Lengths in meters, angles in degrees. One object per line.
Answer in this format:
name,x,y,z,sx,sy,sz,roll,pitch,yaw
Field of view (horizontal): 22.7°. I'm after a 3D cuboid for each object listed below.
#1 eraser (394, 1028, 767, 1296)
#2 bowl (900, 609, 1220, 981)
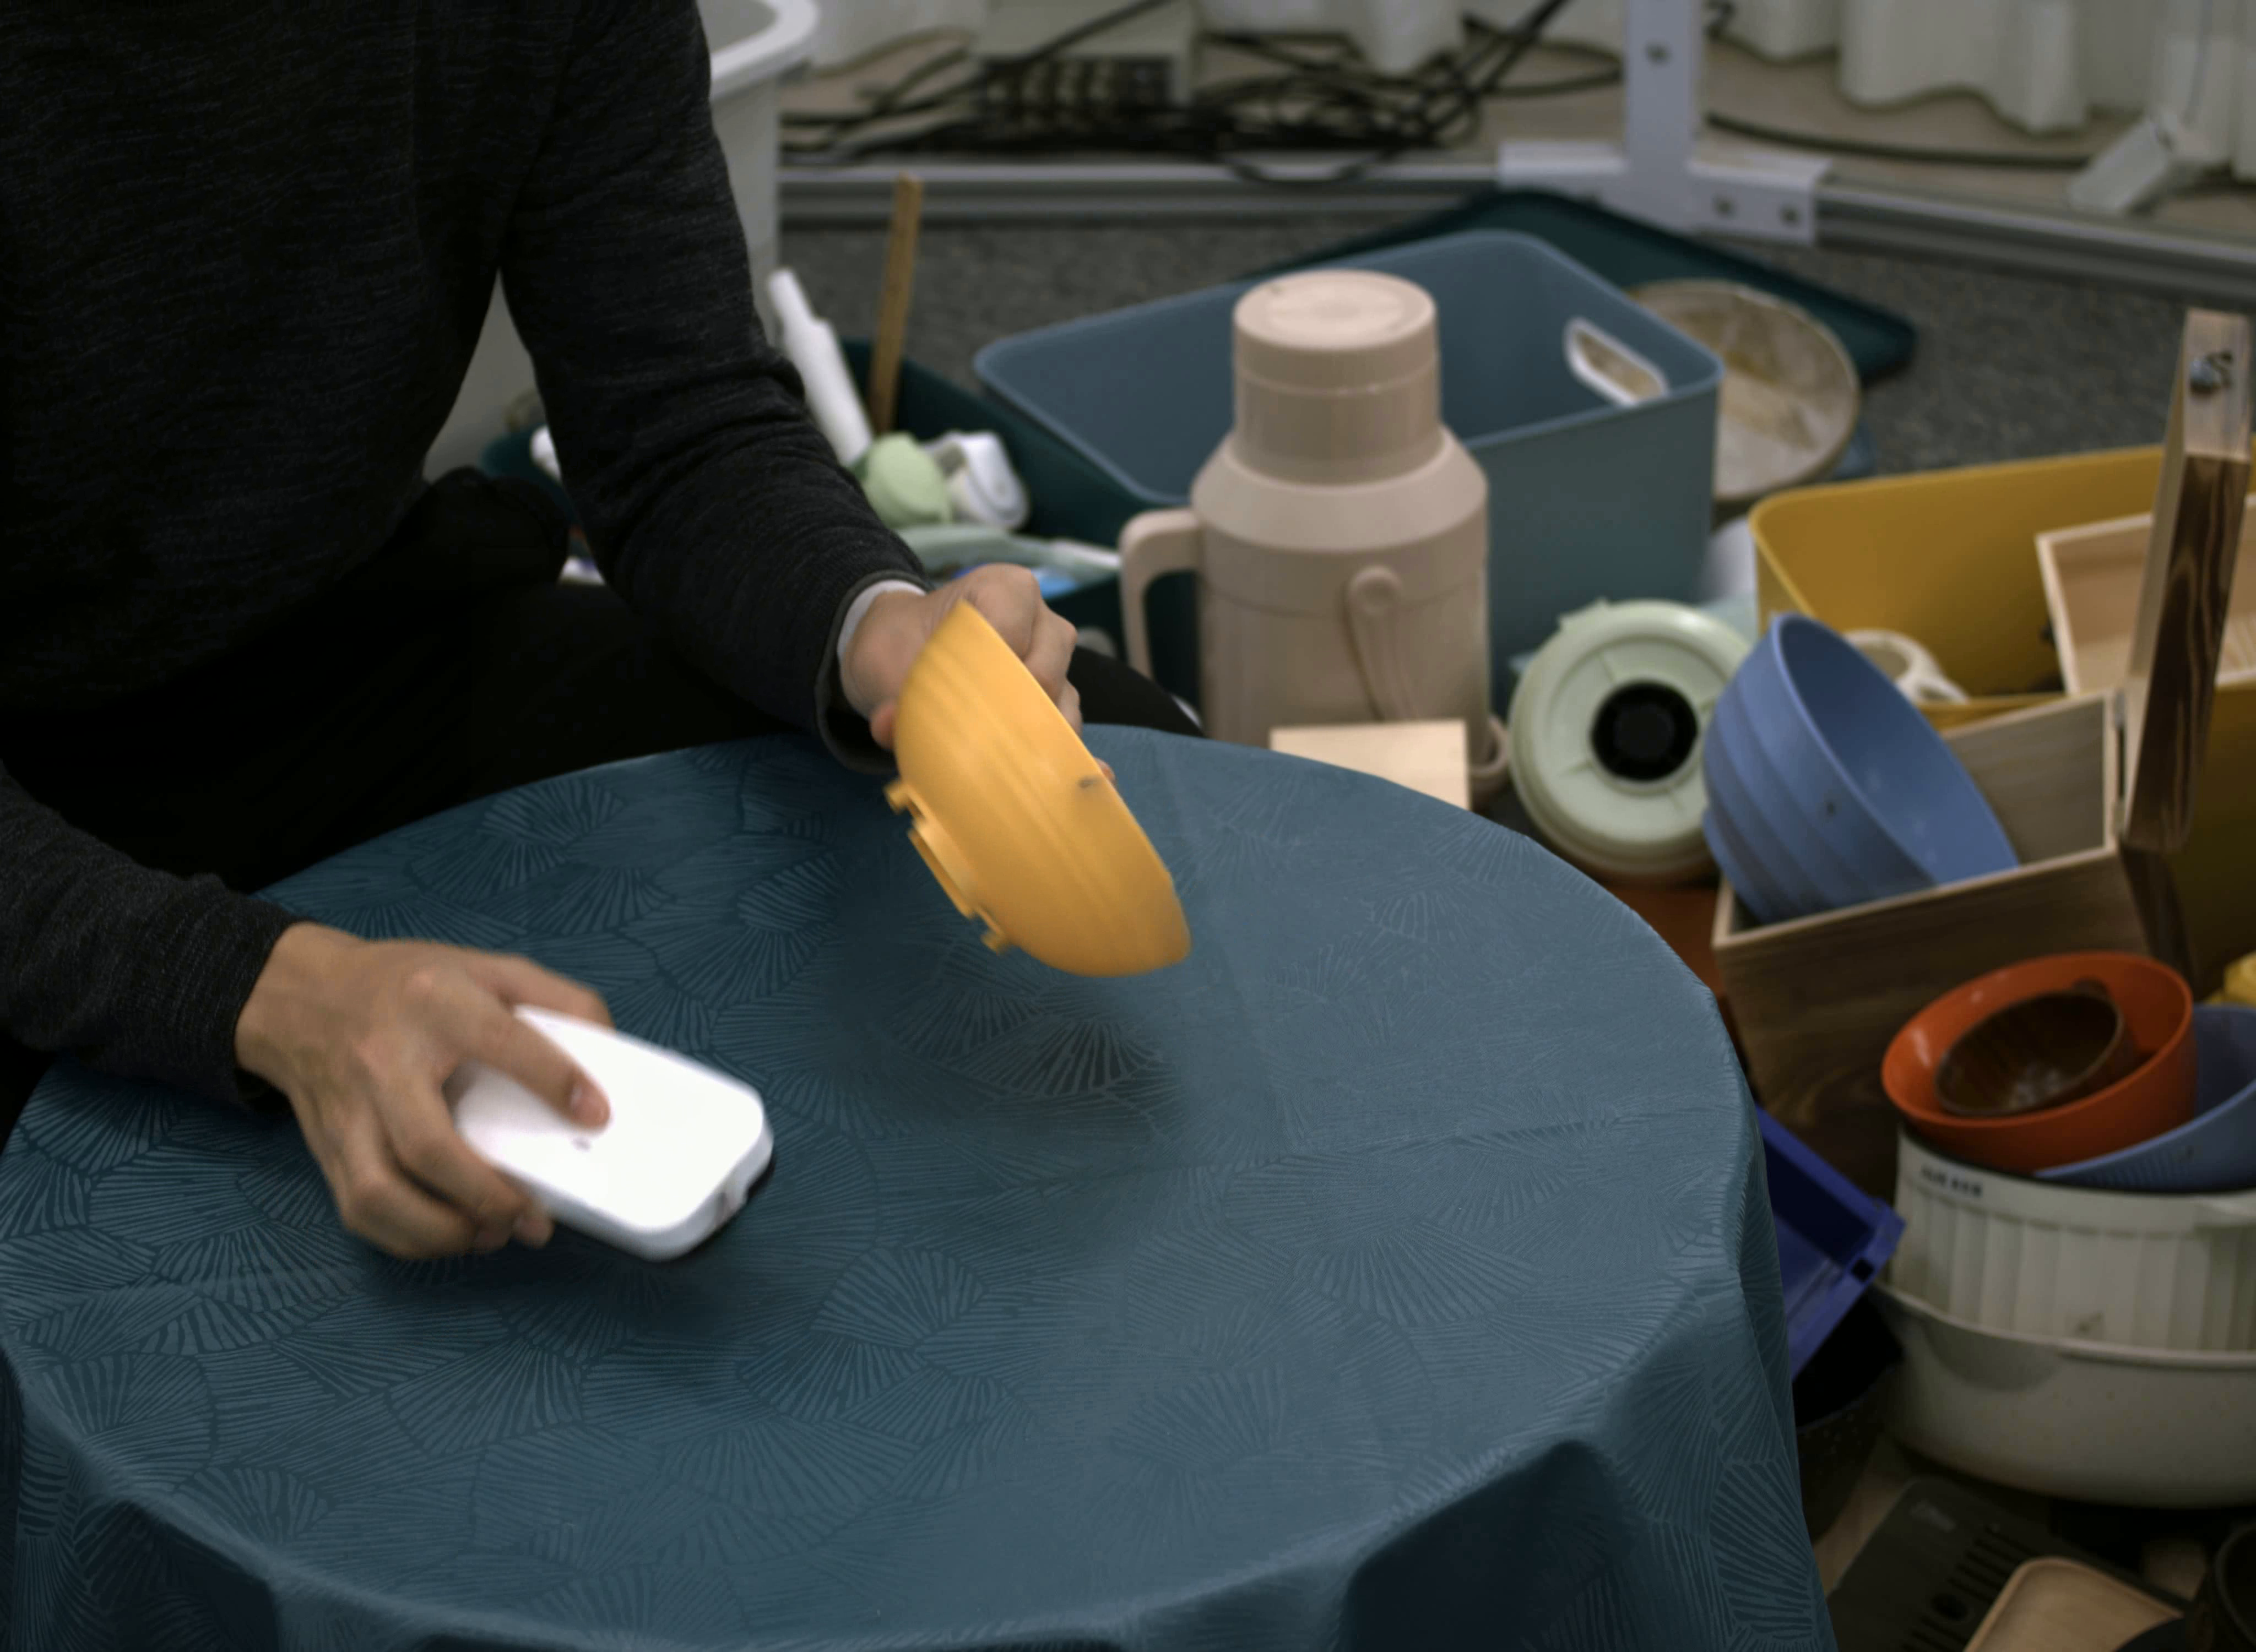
eraser,-0.176,0.106,1.816,0.131,0.034,0.064,21,53,37
bowl,-0.034,0.002,1.894,0.060,0.144,0.146,-37,34,-5
